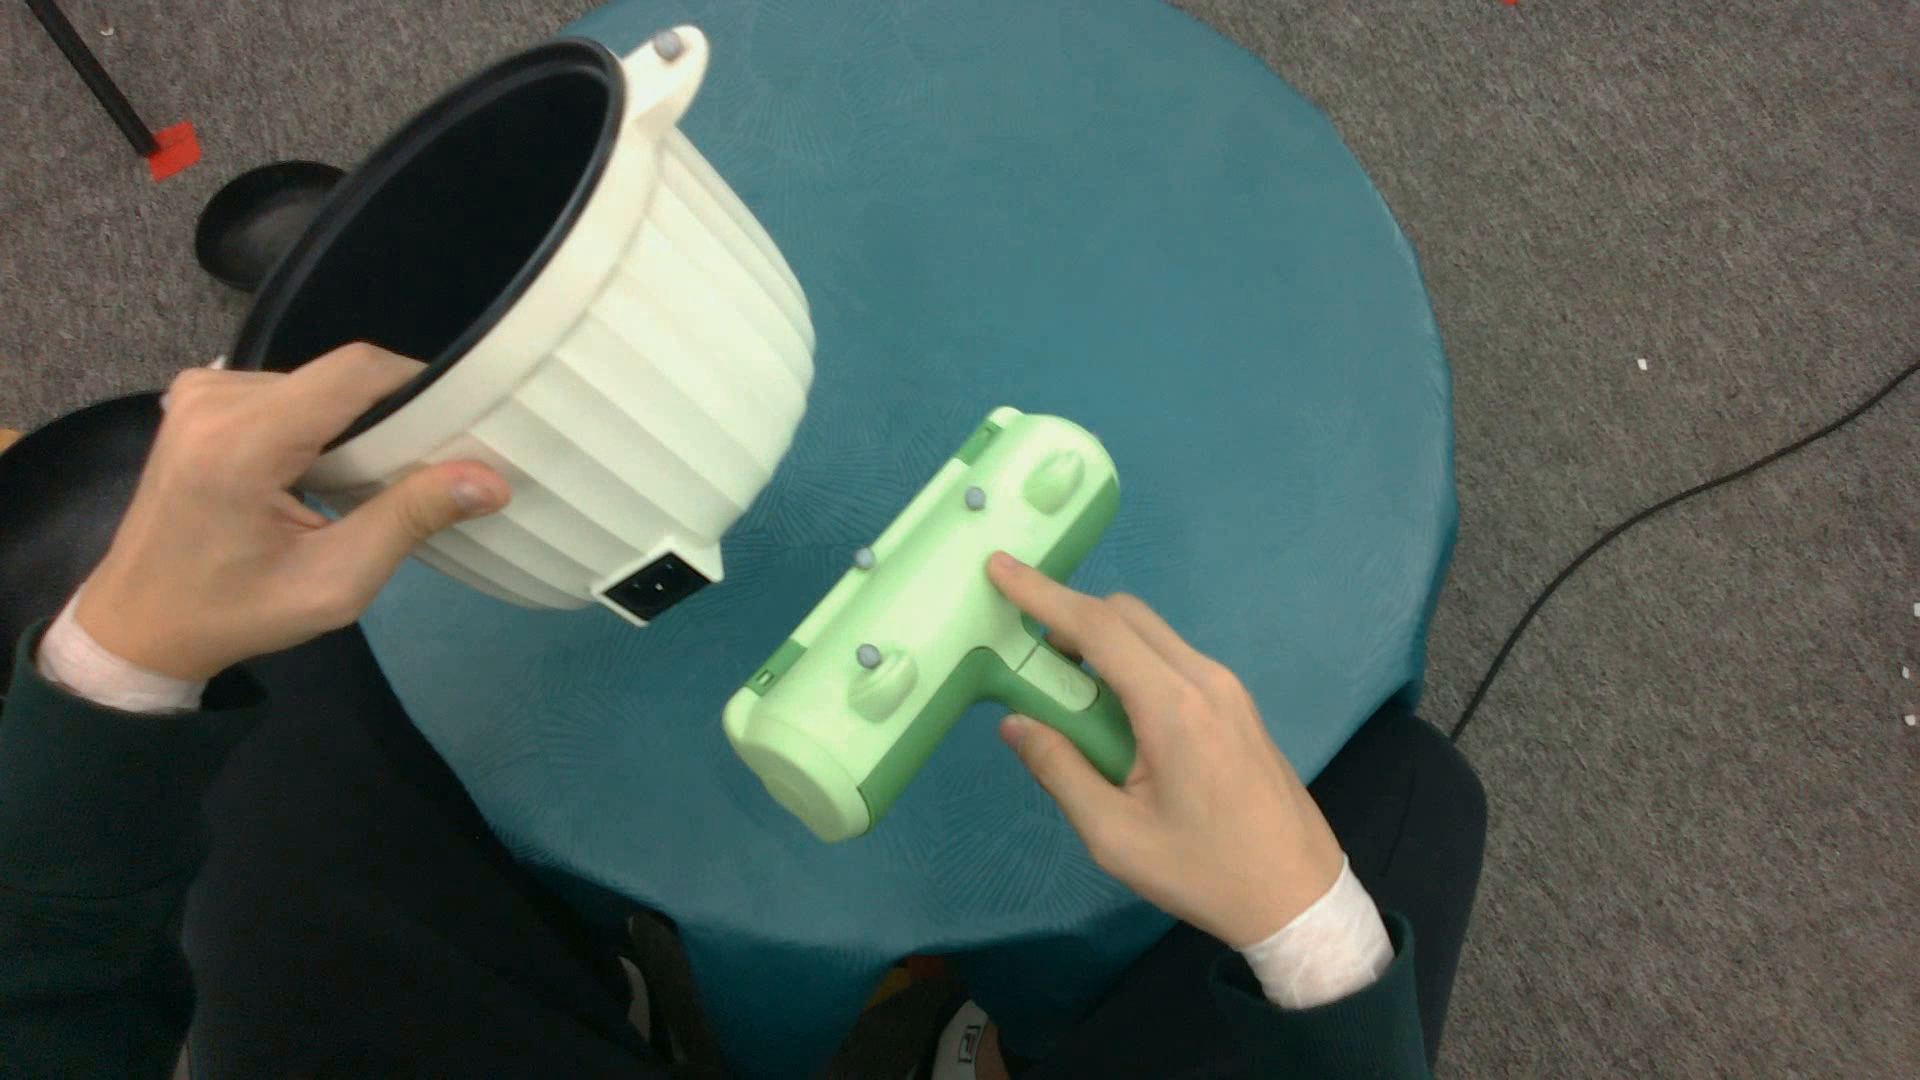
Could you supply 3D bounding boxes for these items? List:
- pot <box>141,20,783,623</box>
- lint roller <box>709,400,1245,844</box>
[{"bbox_3d":[-0.164,-0.073,0.512,0.240,0.142,0.191,-31,50,13],"label":"pot"},{"bbox_3d":[0.035,0.046,0.517,0.183,0.082,0.199,31,54,12],"label":"lint roller"}]
